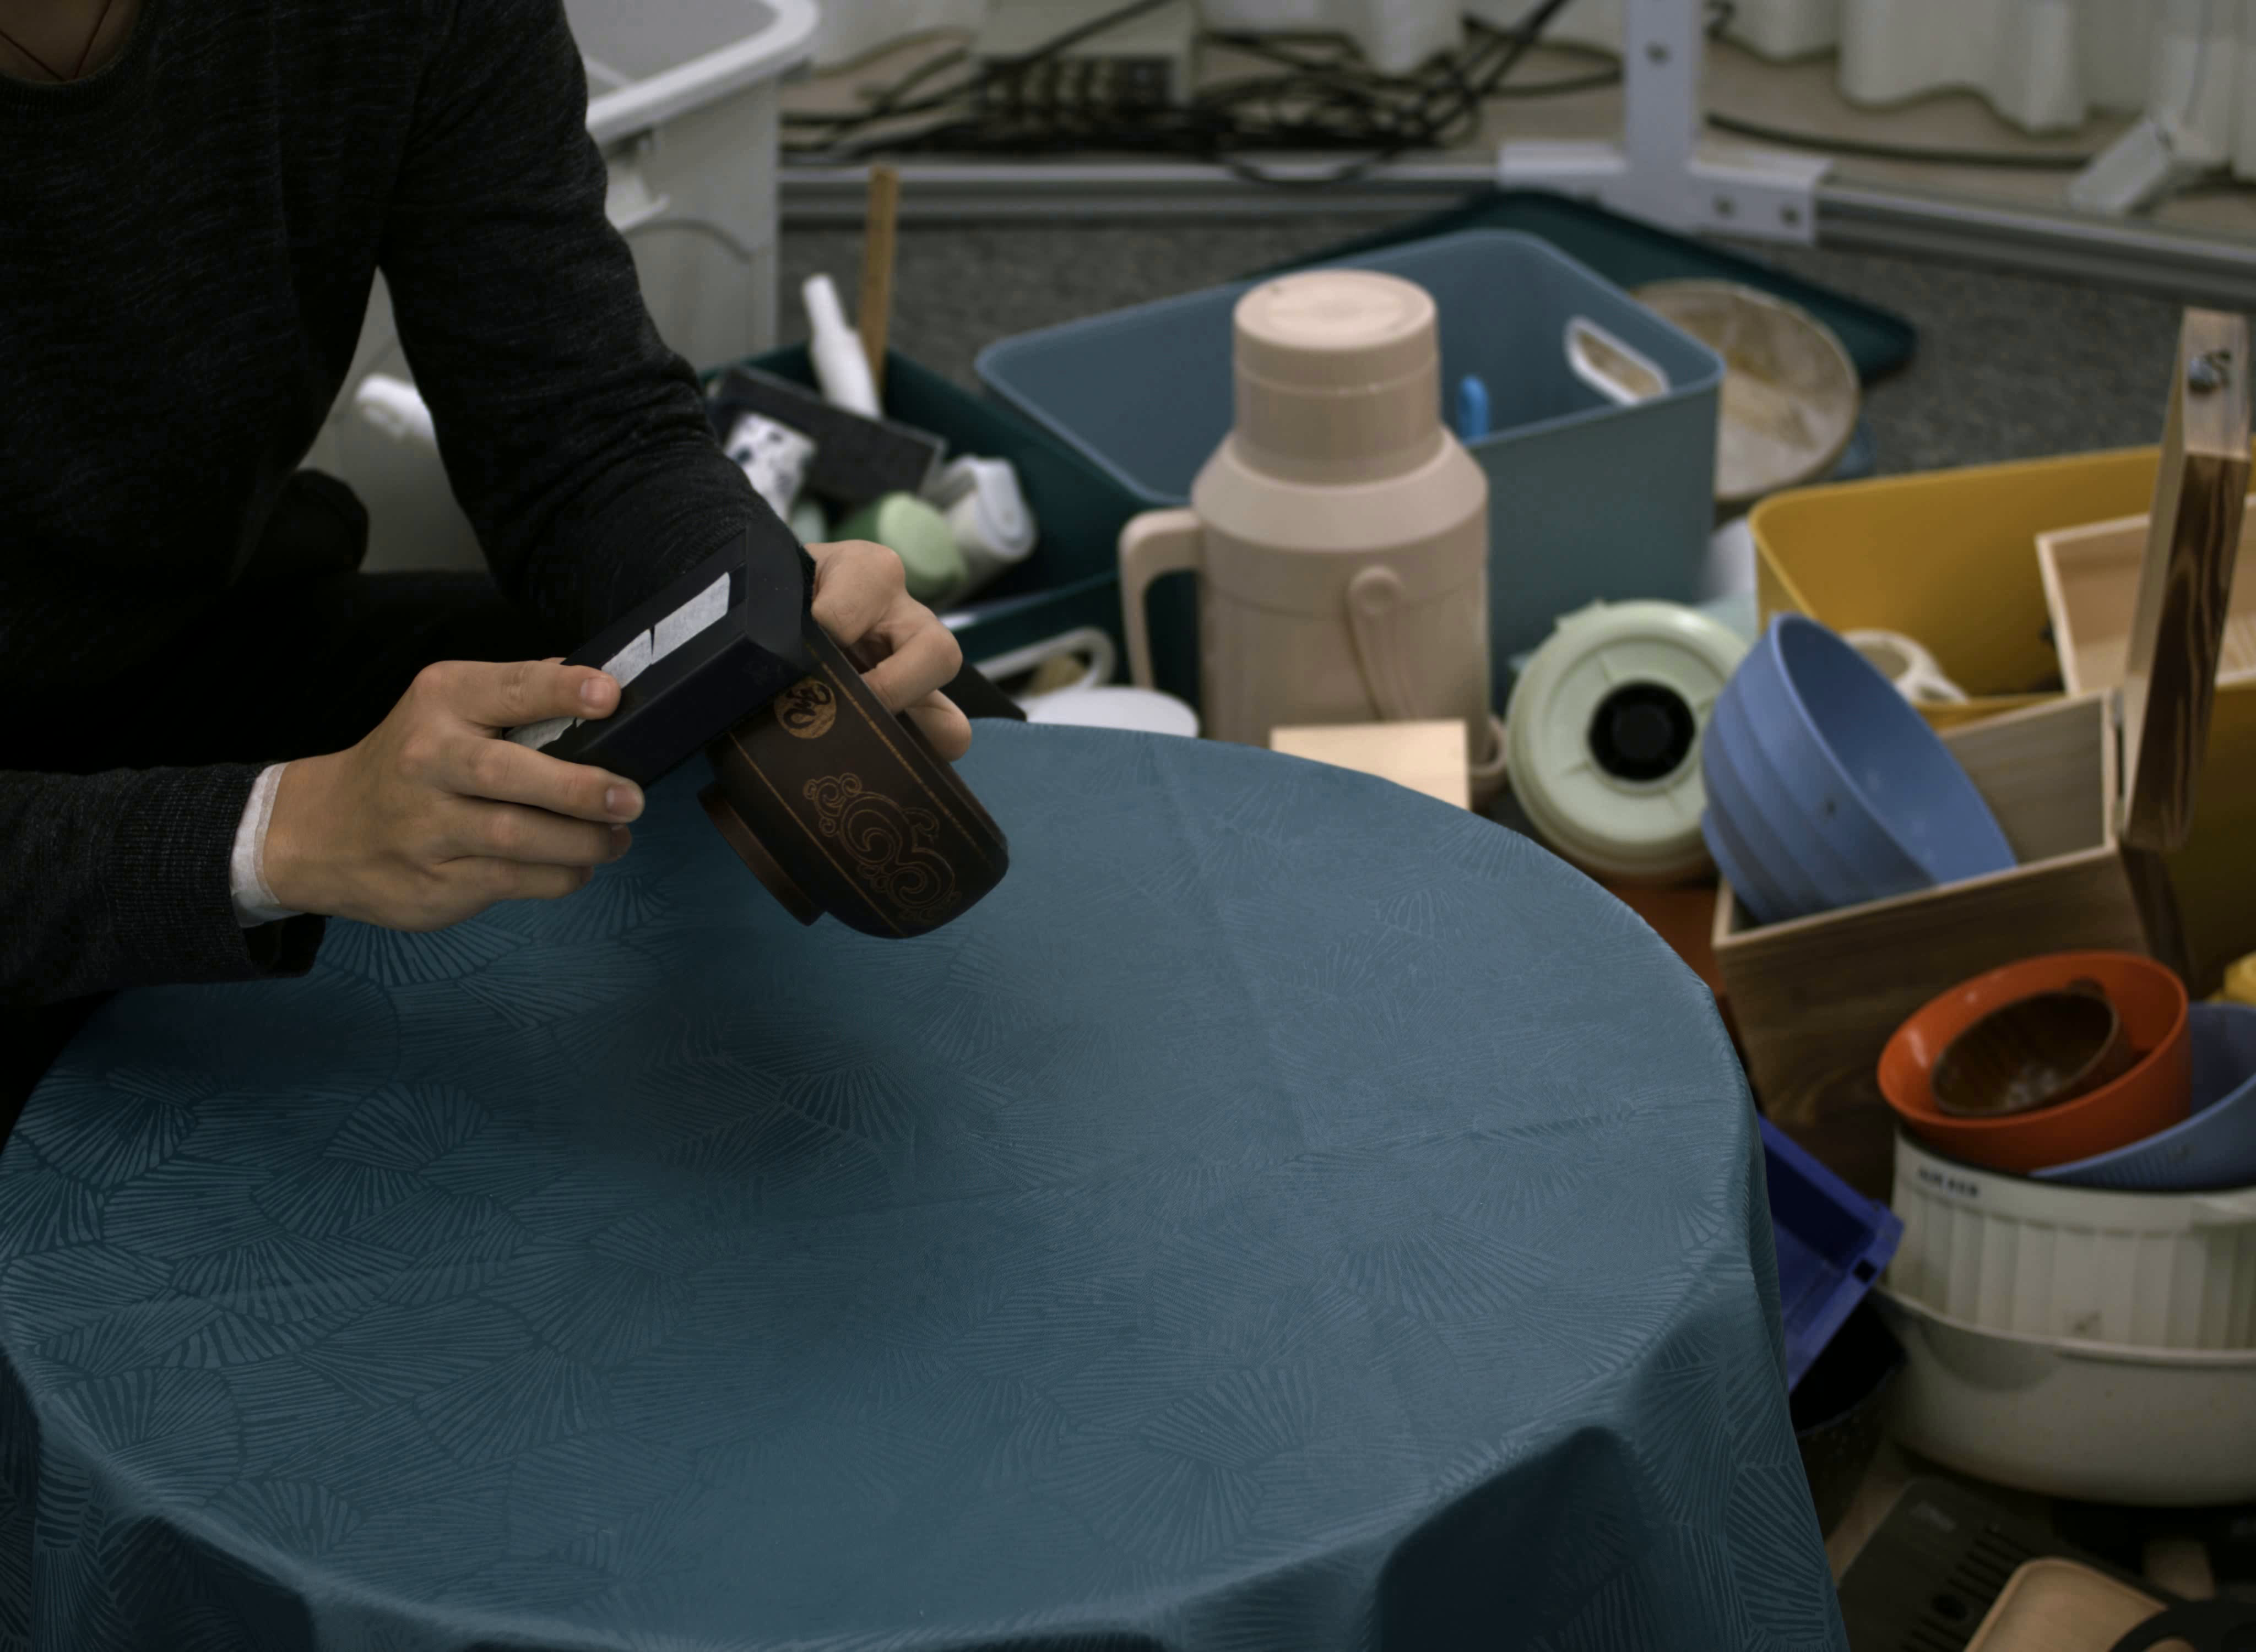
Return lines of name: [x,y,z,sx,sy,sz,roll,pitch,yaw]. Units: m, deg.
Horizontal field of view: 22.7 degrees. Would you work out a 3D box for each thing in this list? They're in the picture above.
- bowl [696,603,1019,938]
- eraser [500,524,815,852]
bowl: [-0.097,-0.011,1.840,0.070,0.117,0.119,-41,32,2]
eraser: [-0.152,-0.044,1.813,0.123,0.030,0.054,-35,37,30]
